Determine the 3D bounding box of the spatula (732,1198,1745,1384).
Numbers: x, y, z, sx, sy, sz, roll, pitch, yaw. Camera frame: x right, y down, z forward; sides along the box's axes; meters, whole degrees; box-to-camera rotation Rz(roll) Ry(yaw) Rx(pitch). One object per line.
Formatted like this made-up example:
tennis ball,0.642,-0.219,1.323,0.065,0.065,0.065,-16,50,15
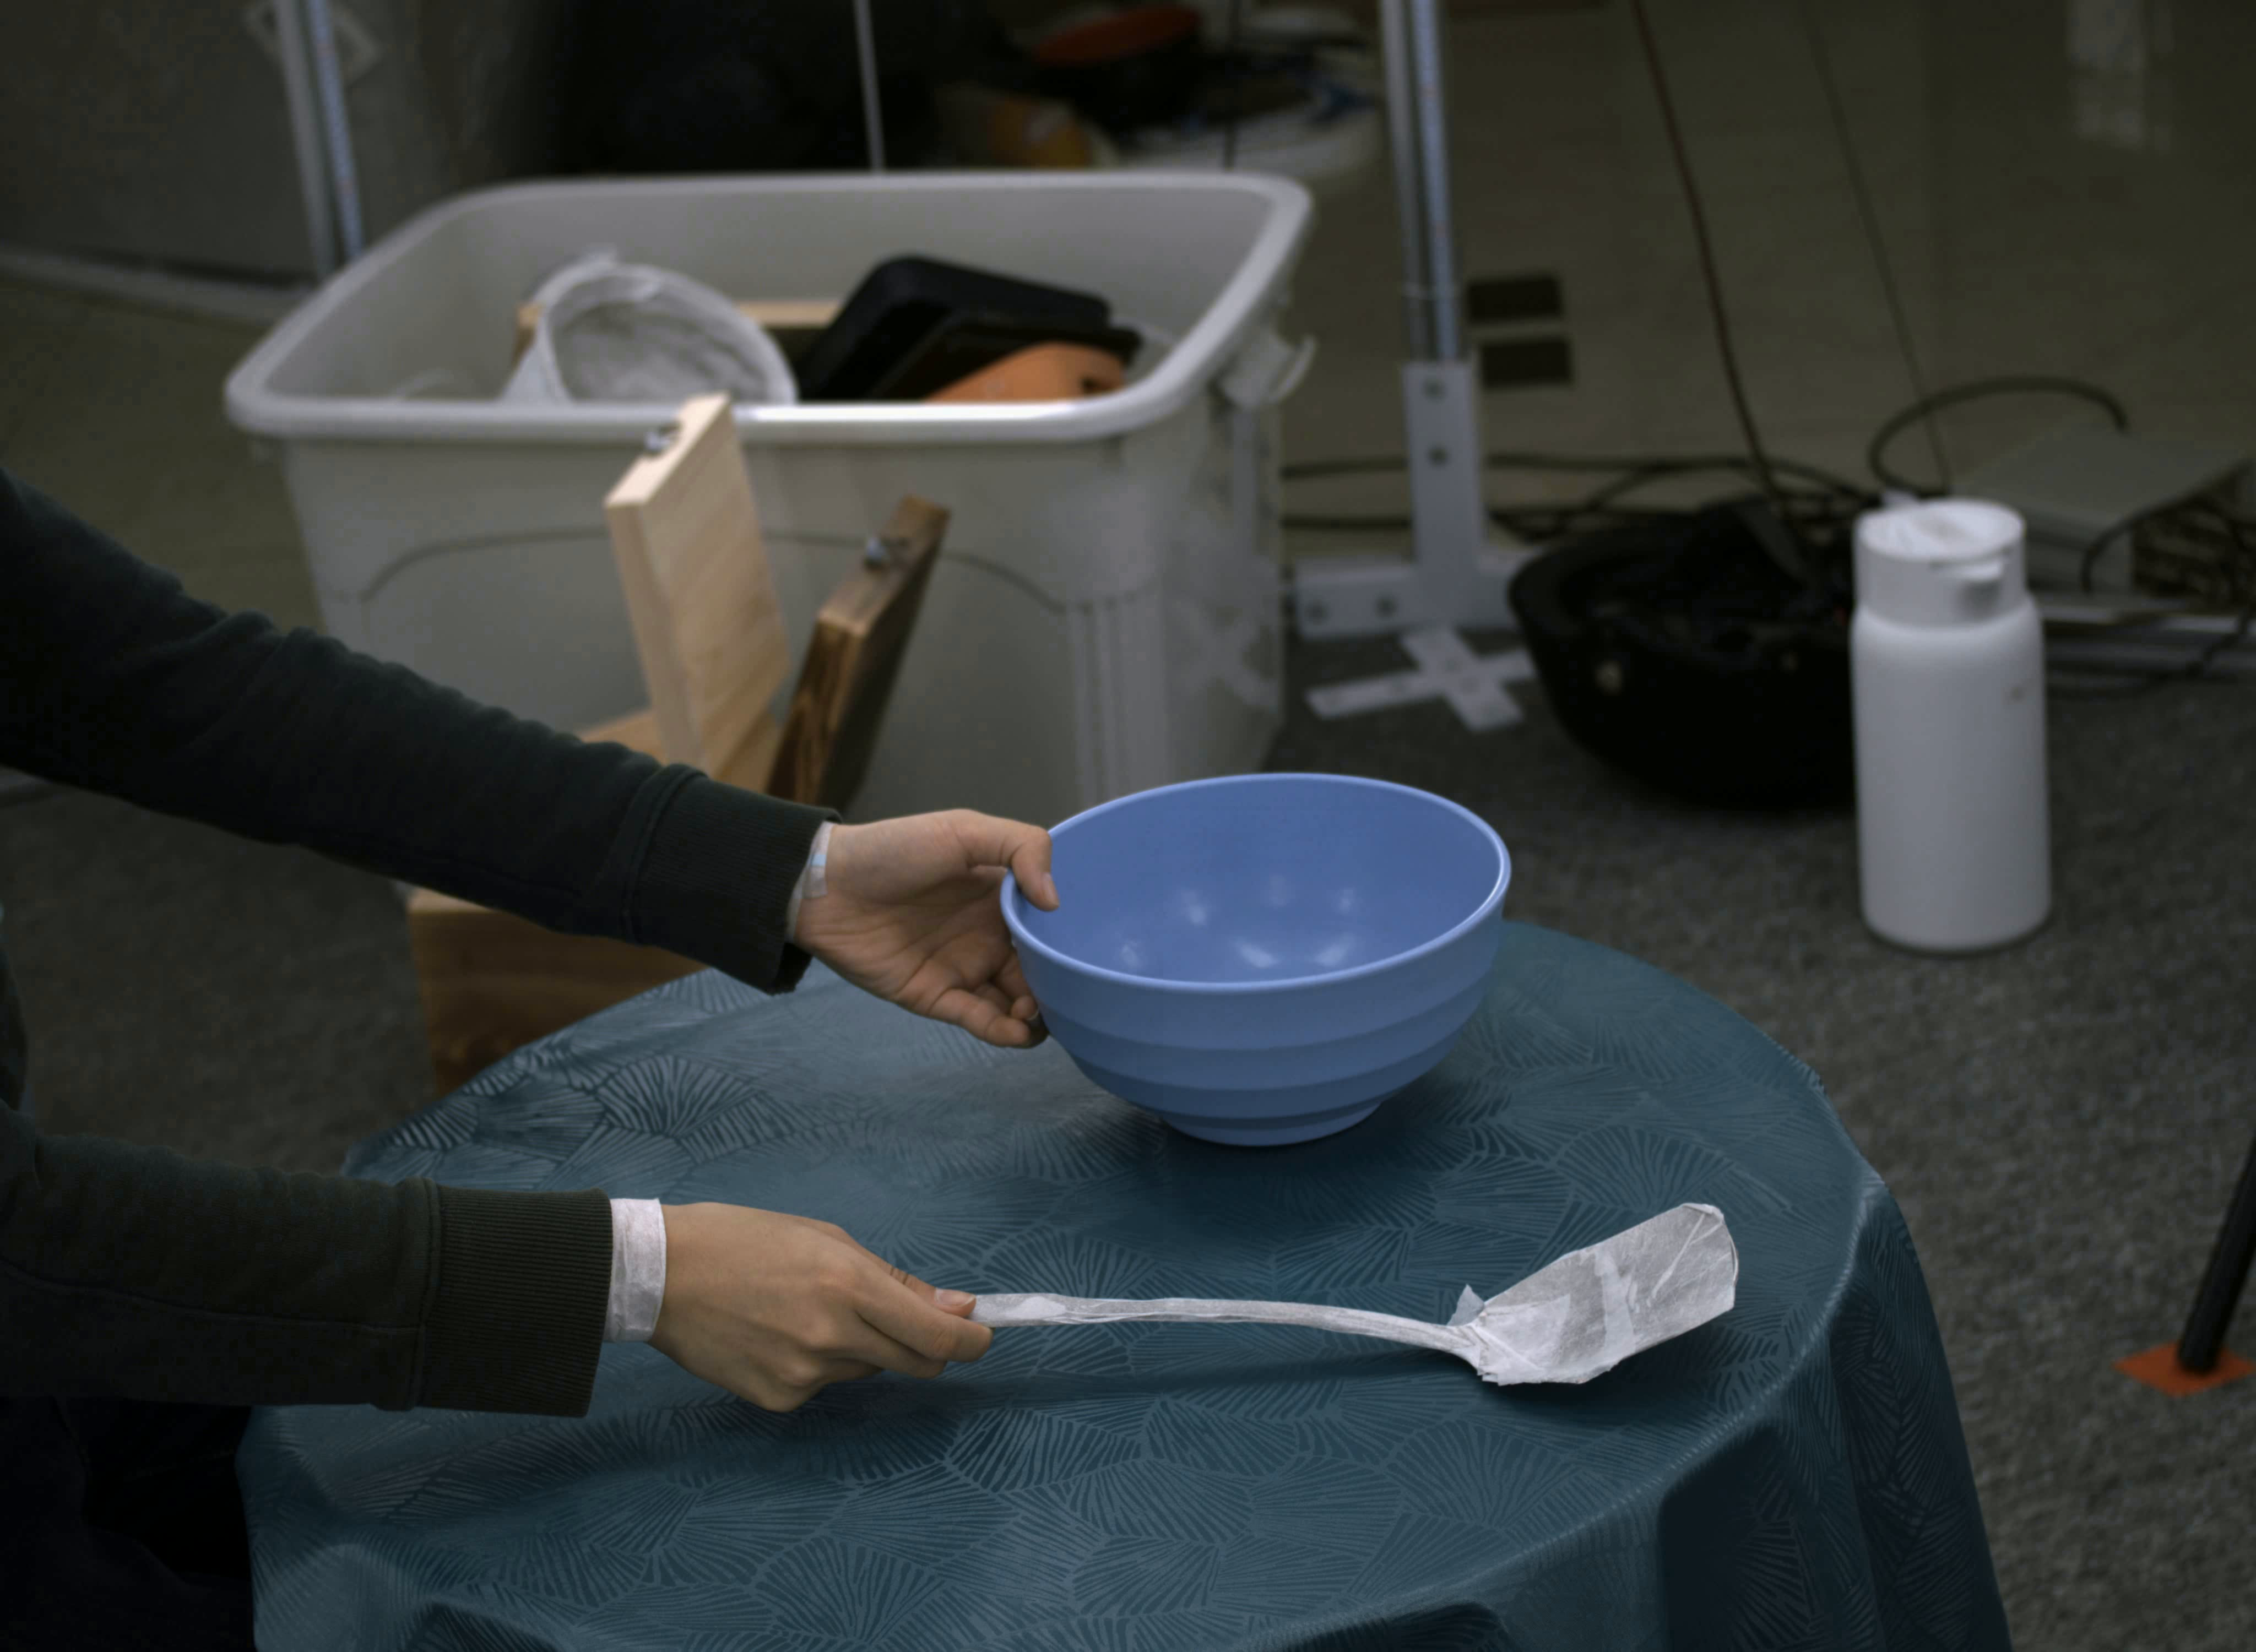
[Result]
spatula,0.036,0.168,2.018,0.364,0.045,0.097,1,25,5

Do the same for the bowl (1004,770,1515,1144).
bowl,0.052,0.061,2.189,0.196,0.097,0.193,-2,25,1
